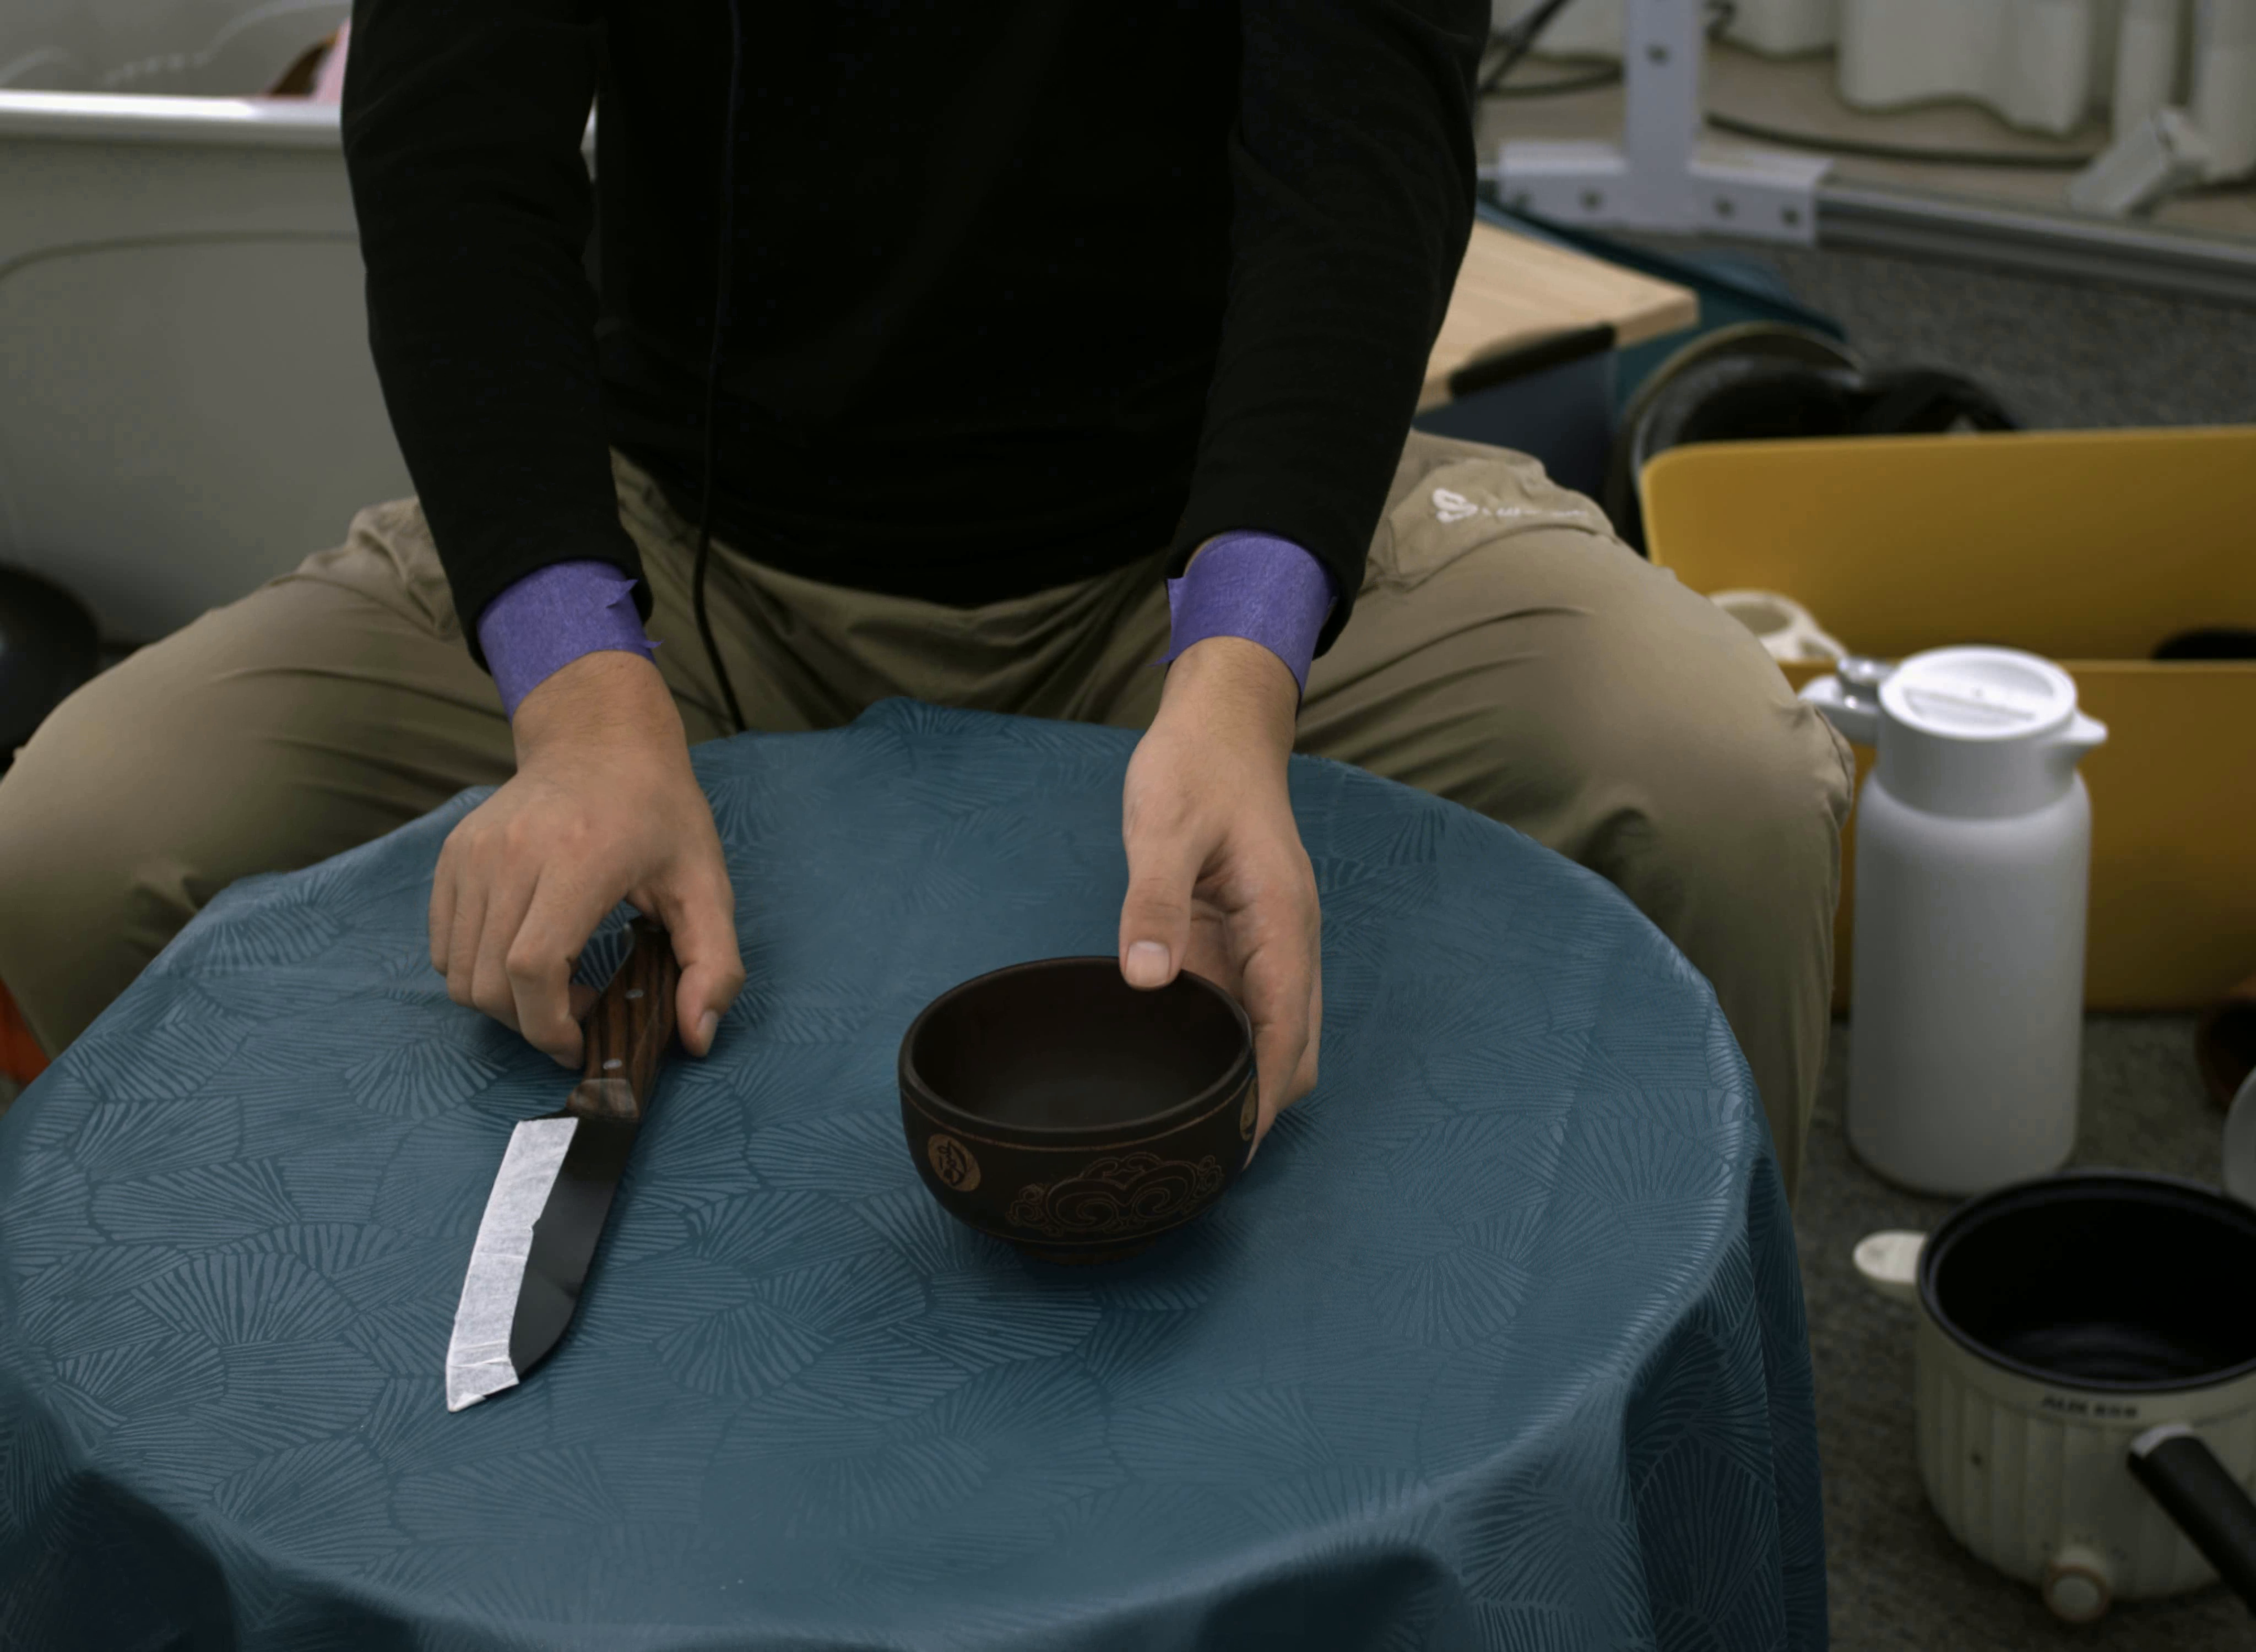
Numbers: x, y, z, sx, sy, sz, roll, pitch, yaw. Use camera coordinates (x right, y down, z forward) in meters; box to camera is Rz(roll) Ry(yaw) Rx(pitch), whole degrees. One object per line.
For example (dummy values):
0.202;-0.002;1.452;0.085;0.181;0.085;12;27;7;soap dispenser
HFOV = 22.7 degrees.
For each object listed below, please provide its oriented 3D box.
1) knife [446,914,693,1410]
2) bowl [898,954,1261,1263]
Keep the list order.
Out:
-0.186;0.111;1.882;0.050;0.020;0.294;-5;29;12;knife
-0.015;0.099;1.830;0.117;0.069;0.120;-3;26;2;bowl
